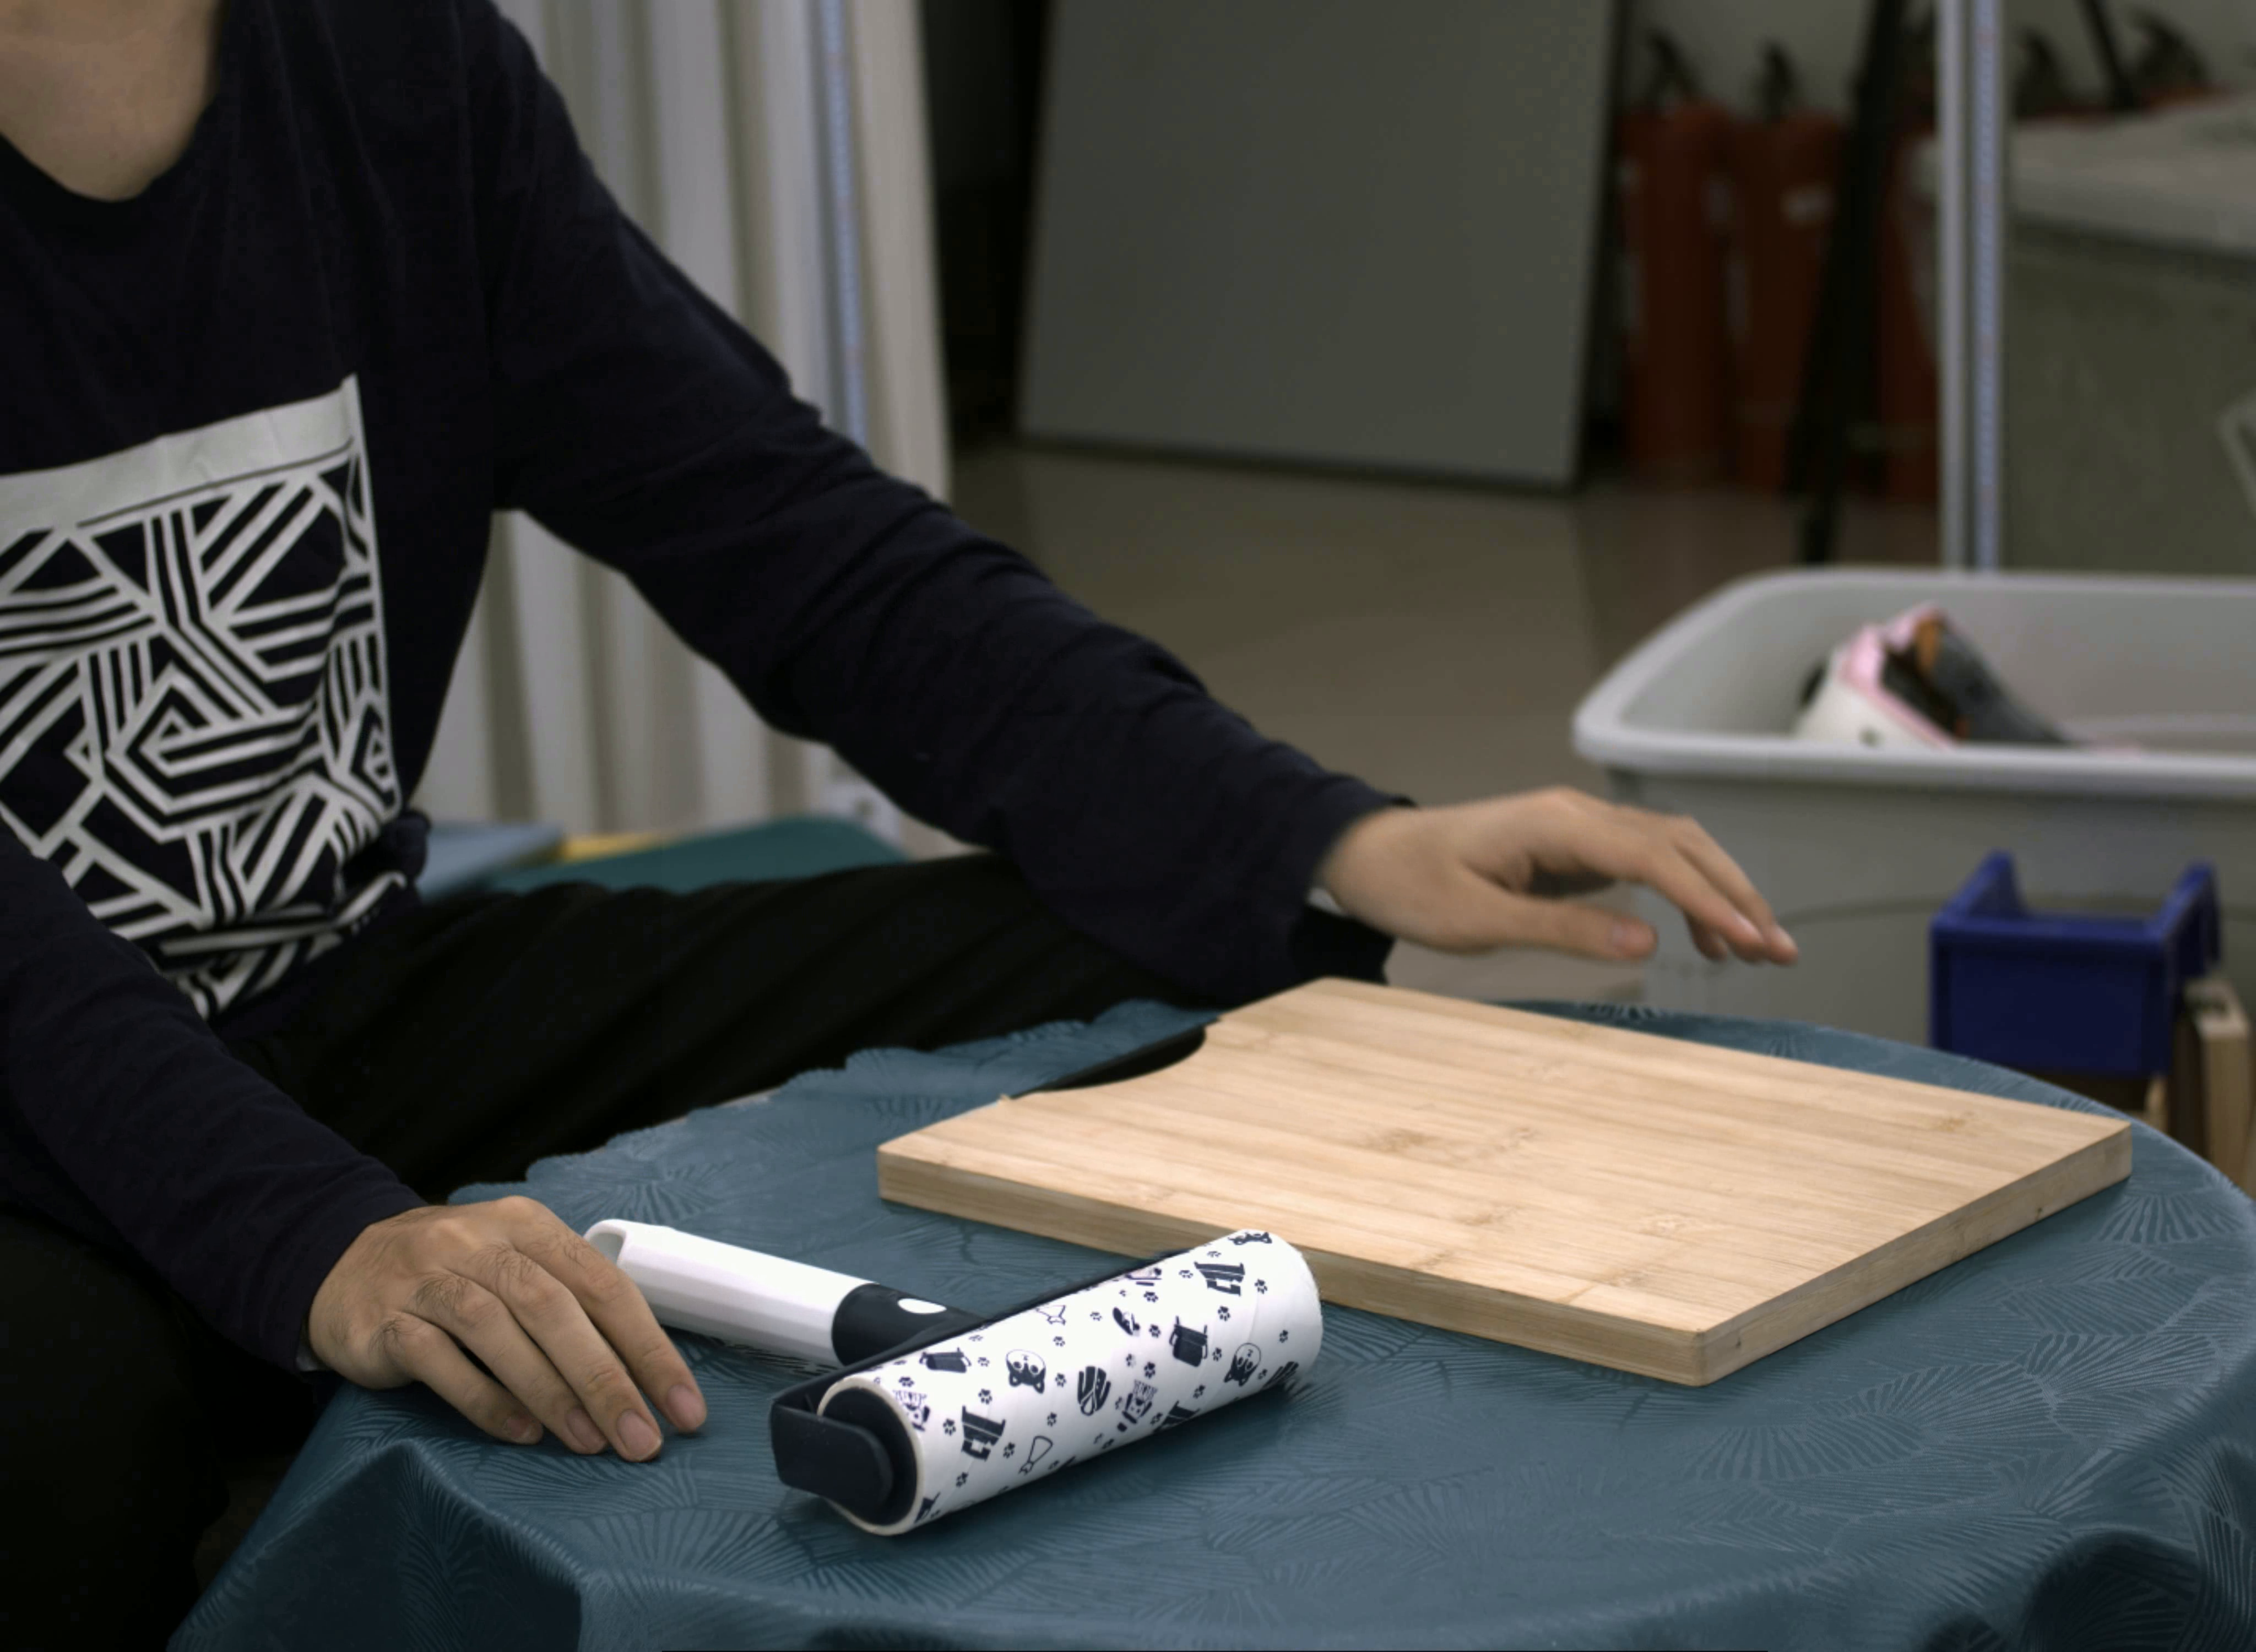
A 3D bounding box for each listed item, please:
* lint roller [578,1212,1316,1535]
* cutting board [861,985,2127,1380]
[{"bbox_3d":[-0.086,0.147,1.606,0.172,0.051,0.249,-18,16,-41],"label":"lint roller"},{"bbox_3d":[0.115,0.110,1.754,0.351,0.024,0.246,8,18,42],"label":"cutting board"}]
